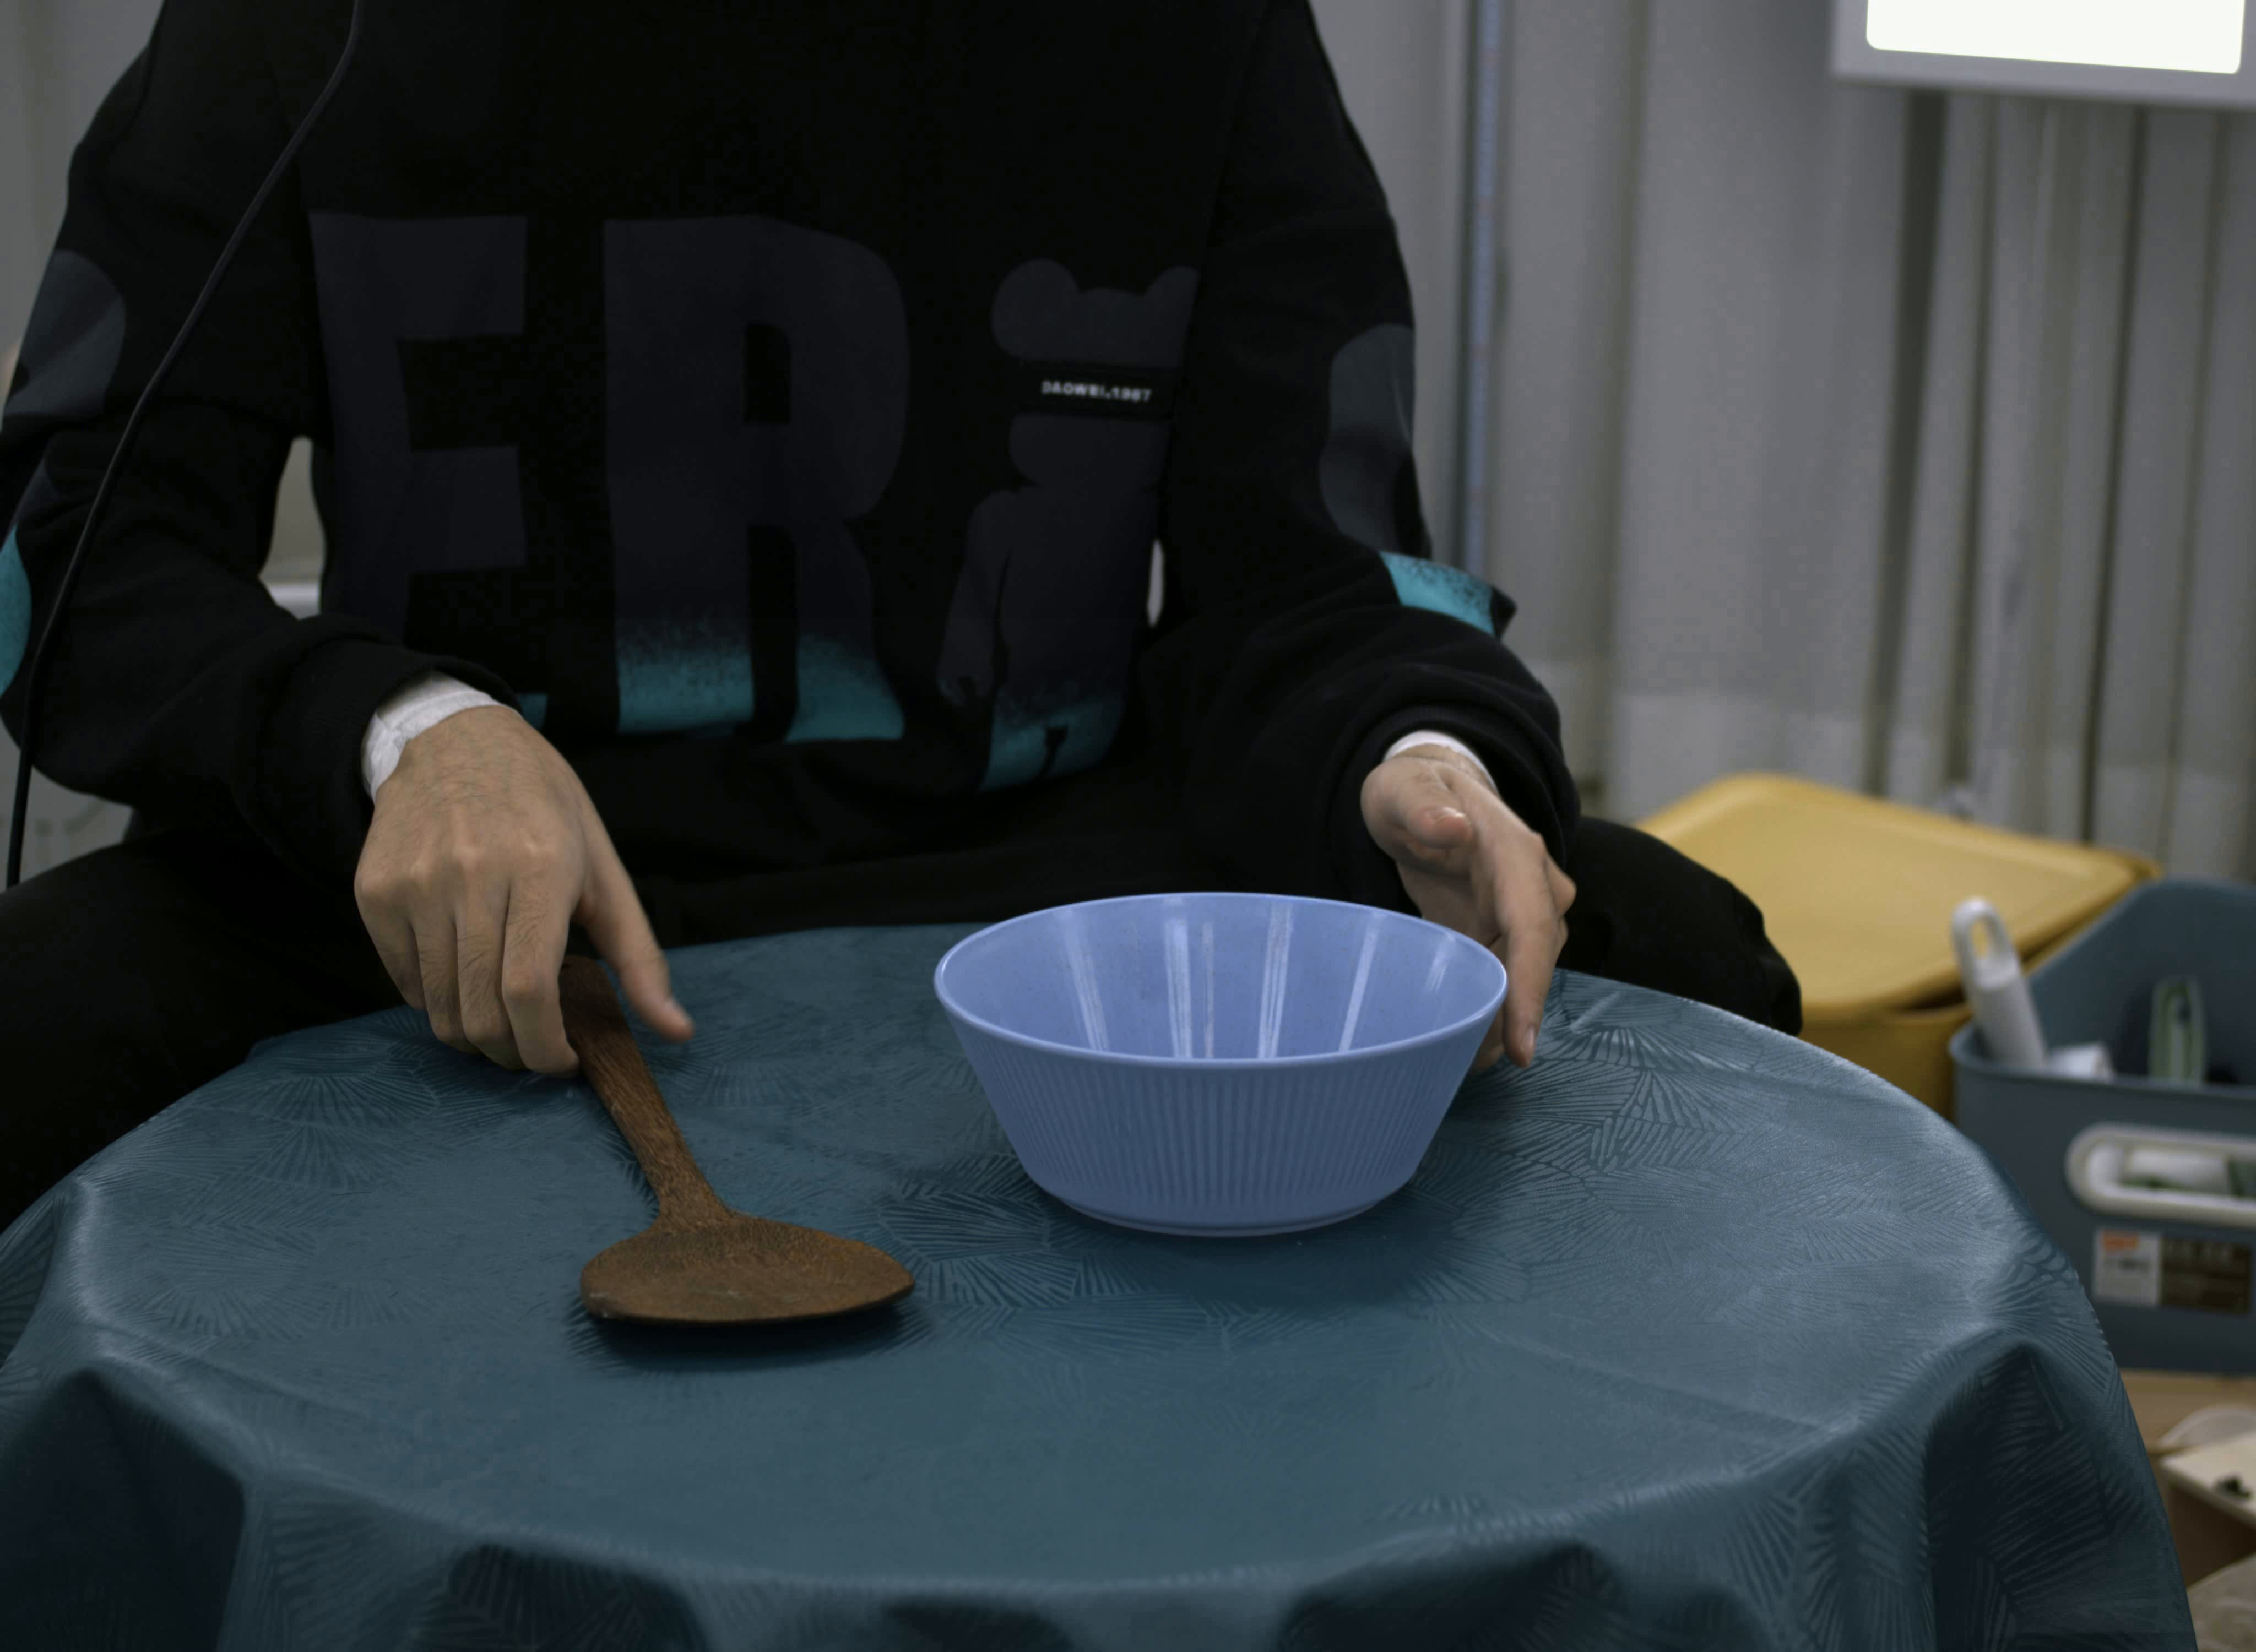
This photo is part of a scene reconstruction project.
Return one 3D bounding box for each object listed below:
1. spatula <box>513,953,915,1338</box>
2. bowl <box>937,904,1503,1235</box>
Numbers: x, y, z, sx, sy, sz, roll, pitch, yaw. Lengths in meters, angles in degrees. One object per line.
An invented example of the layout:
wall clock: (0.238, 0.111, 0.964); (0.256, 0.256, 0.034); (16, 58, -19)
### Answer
spatula: (-0.152, 0.094, 1.660); (0.096, 0.016, 0.382); (-3, 16, -15)
bowl: (0.028, 0.077, 1.626); (0.175, 0.071, 0.175); (1, 15, 0)
